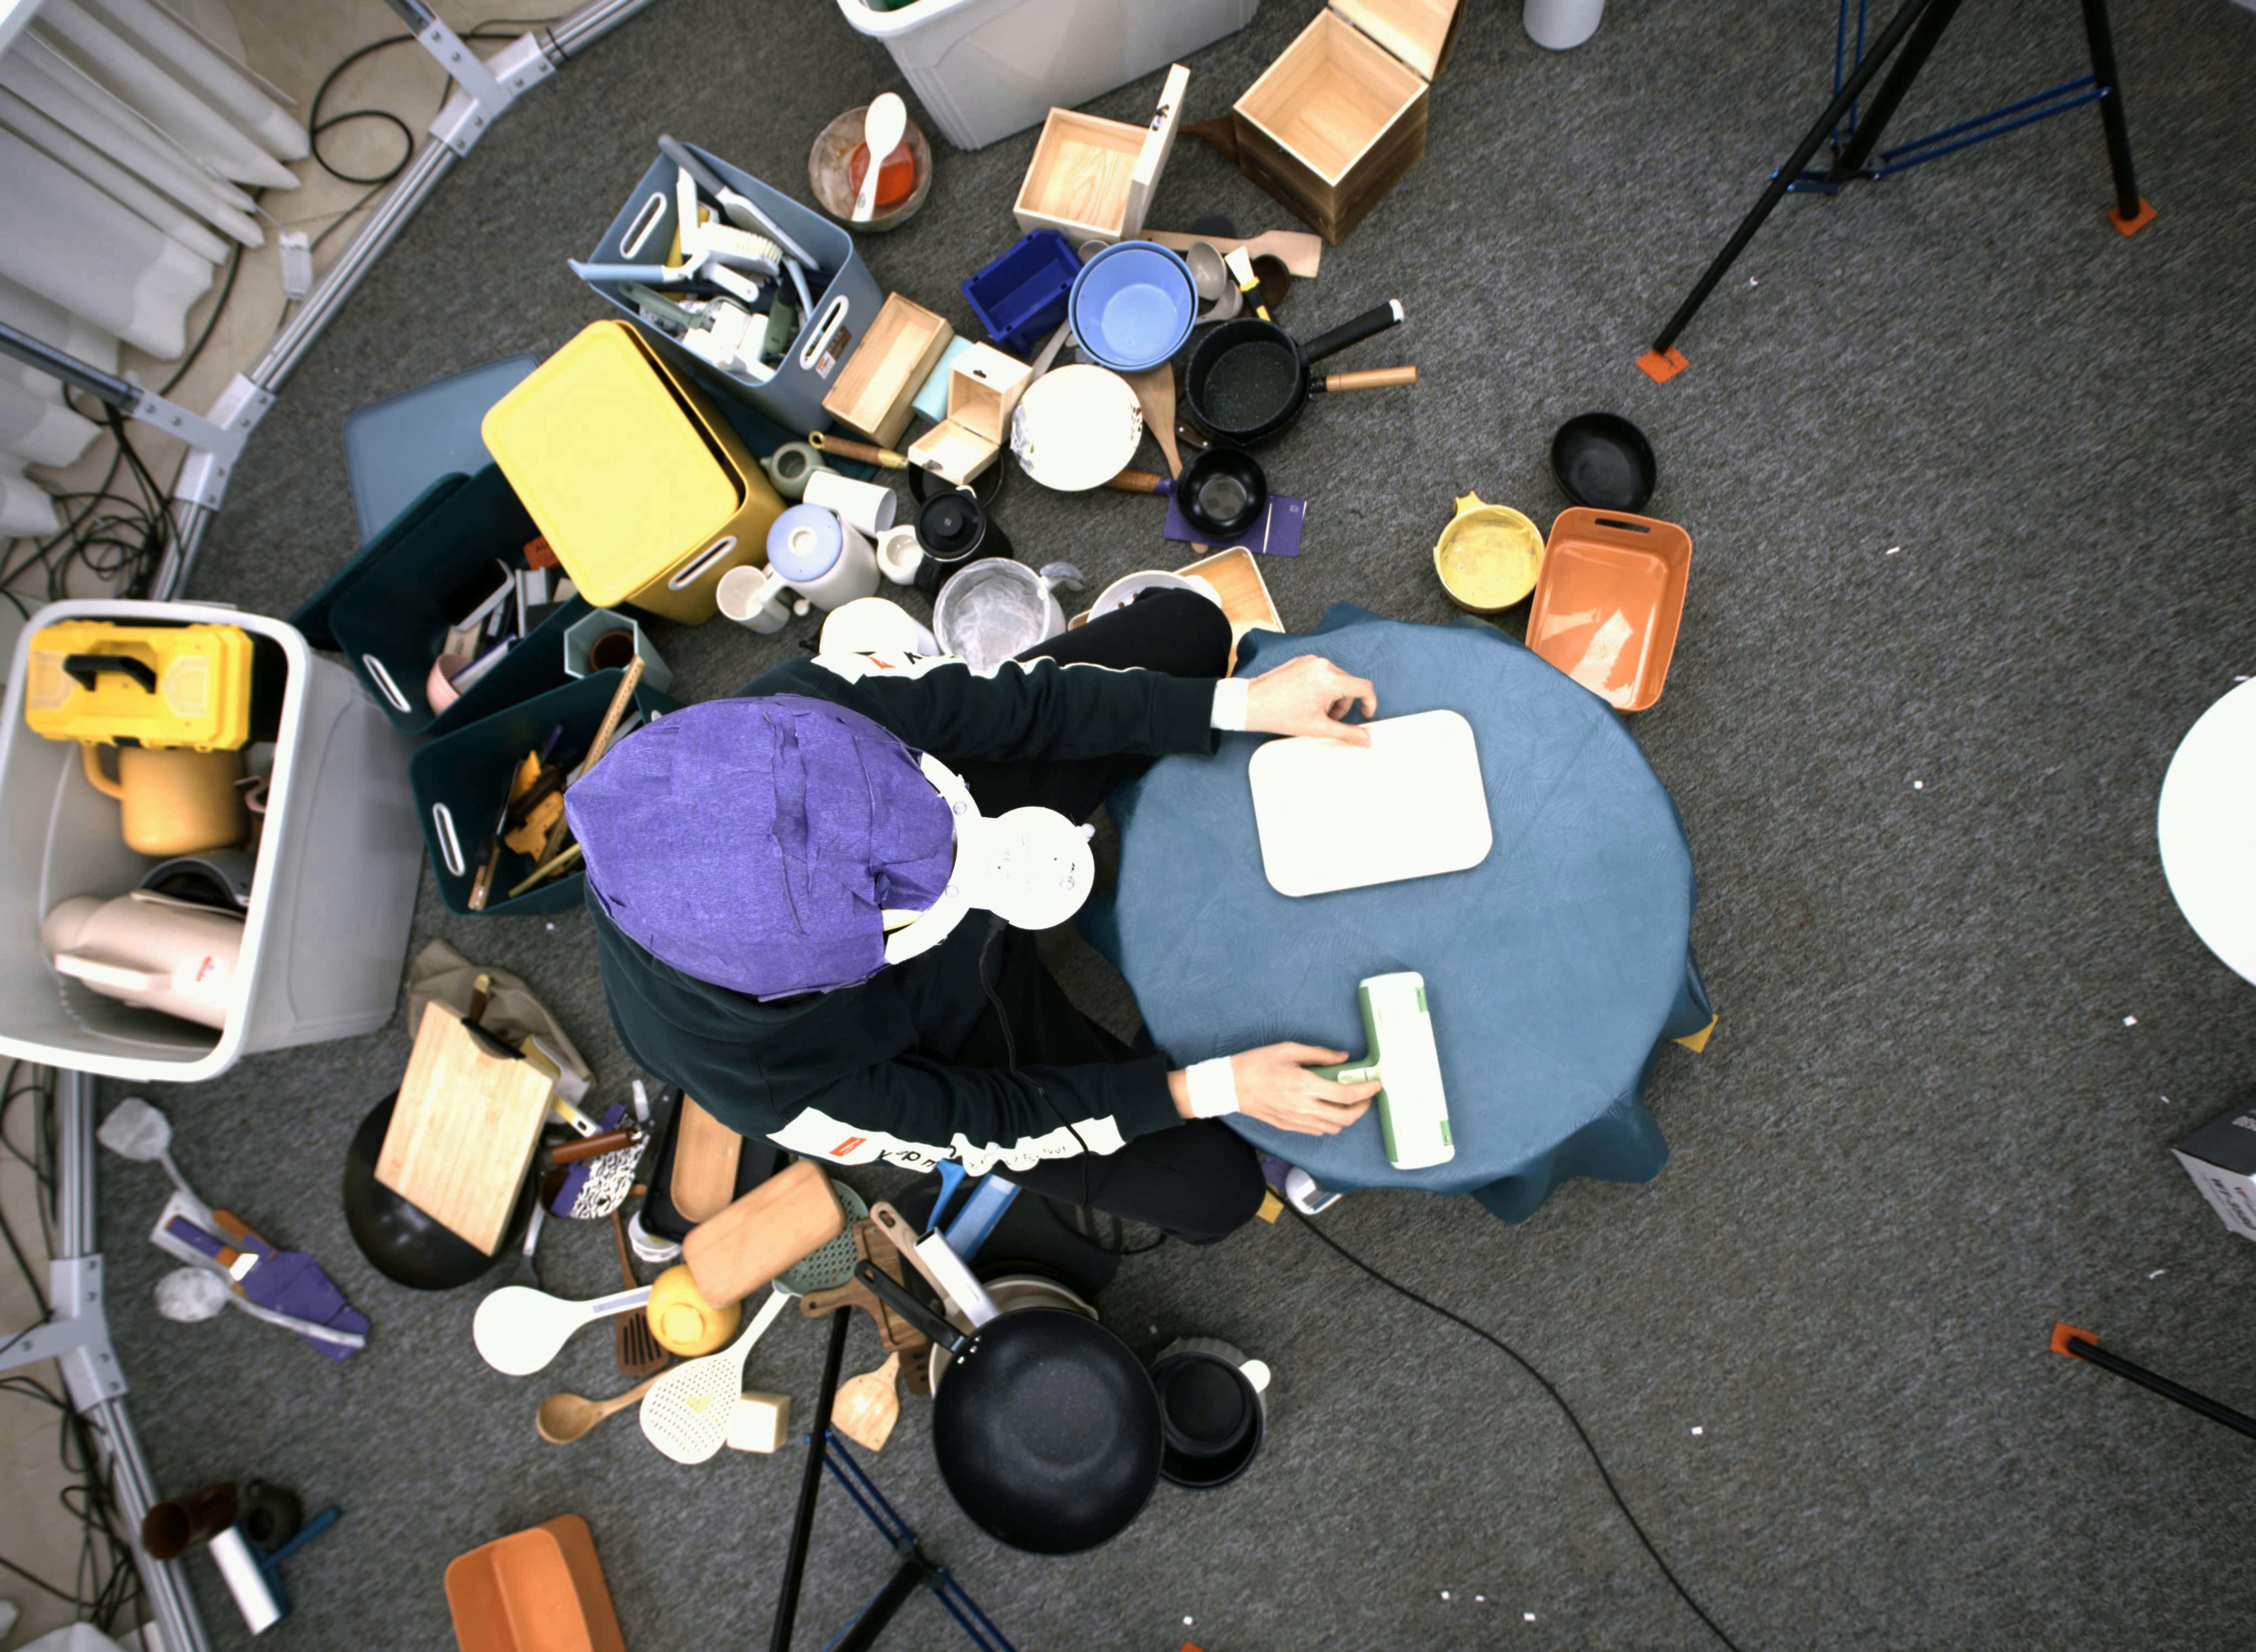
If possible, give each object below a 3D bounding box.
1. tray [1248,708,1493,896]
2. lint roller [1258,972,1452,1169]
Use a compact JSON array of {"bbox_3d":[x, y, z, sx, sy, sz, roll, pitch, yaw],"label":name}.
[{"bbox_3d":[0.254,-0.026,1.454,0.241,0.017,0.170,-10,85,10],"label":"tray"},{"bbox_3d":[0.225,0.256,1.411,0.184,0.082,0.197,-9,85,2],"label":"lint roller"}]
